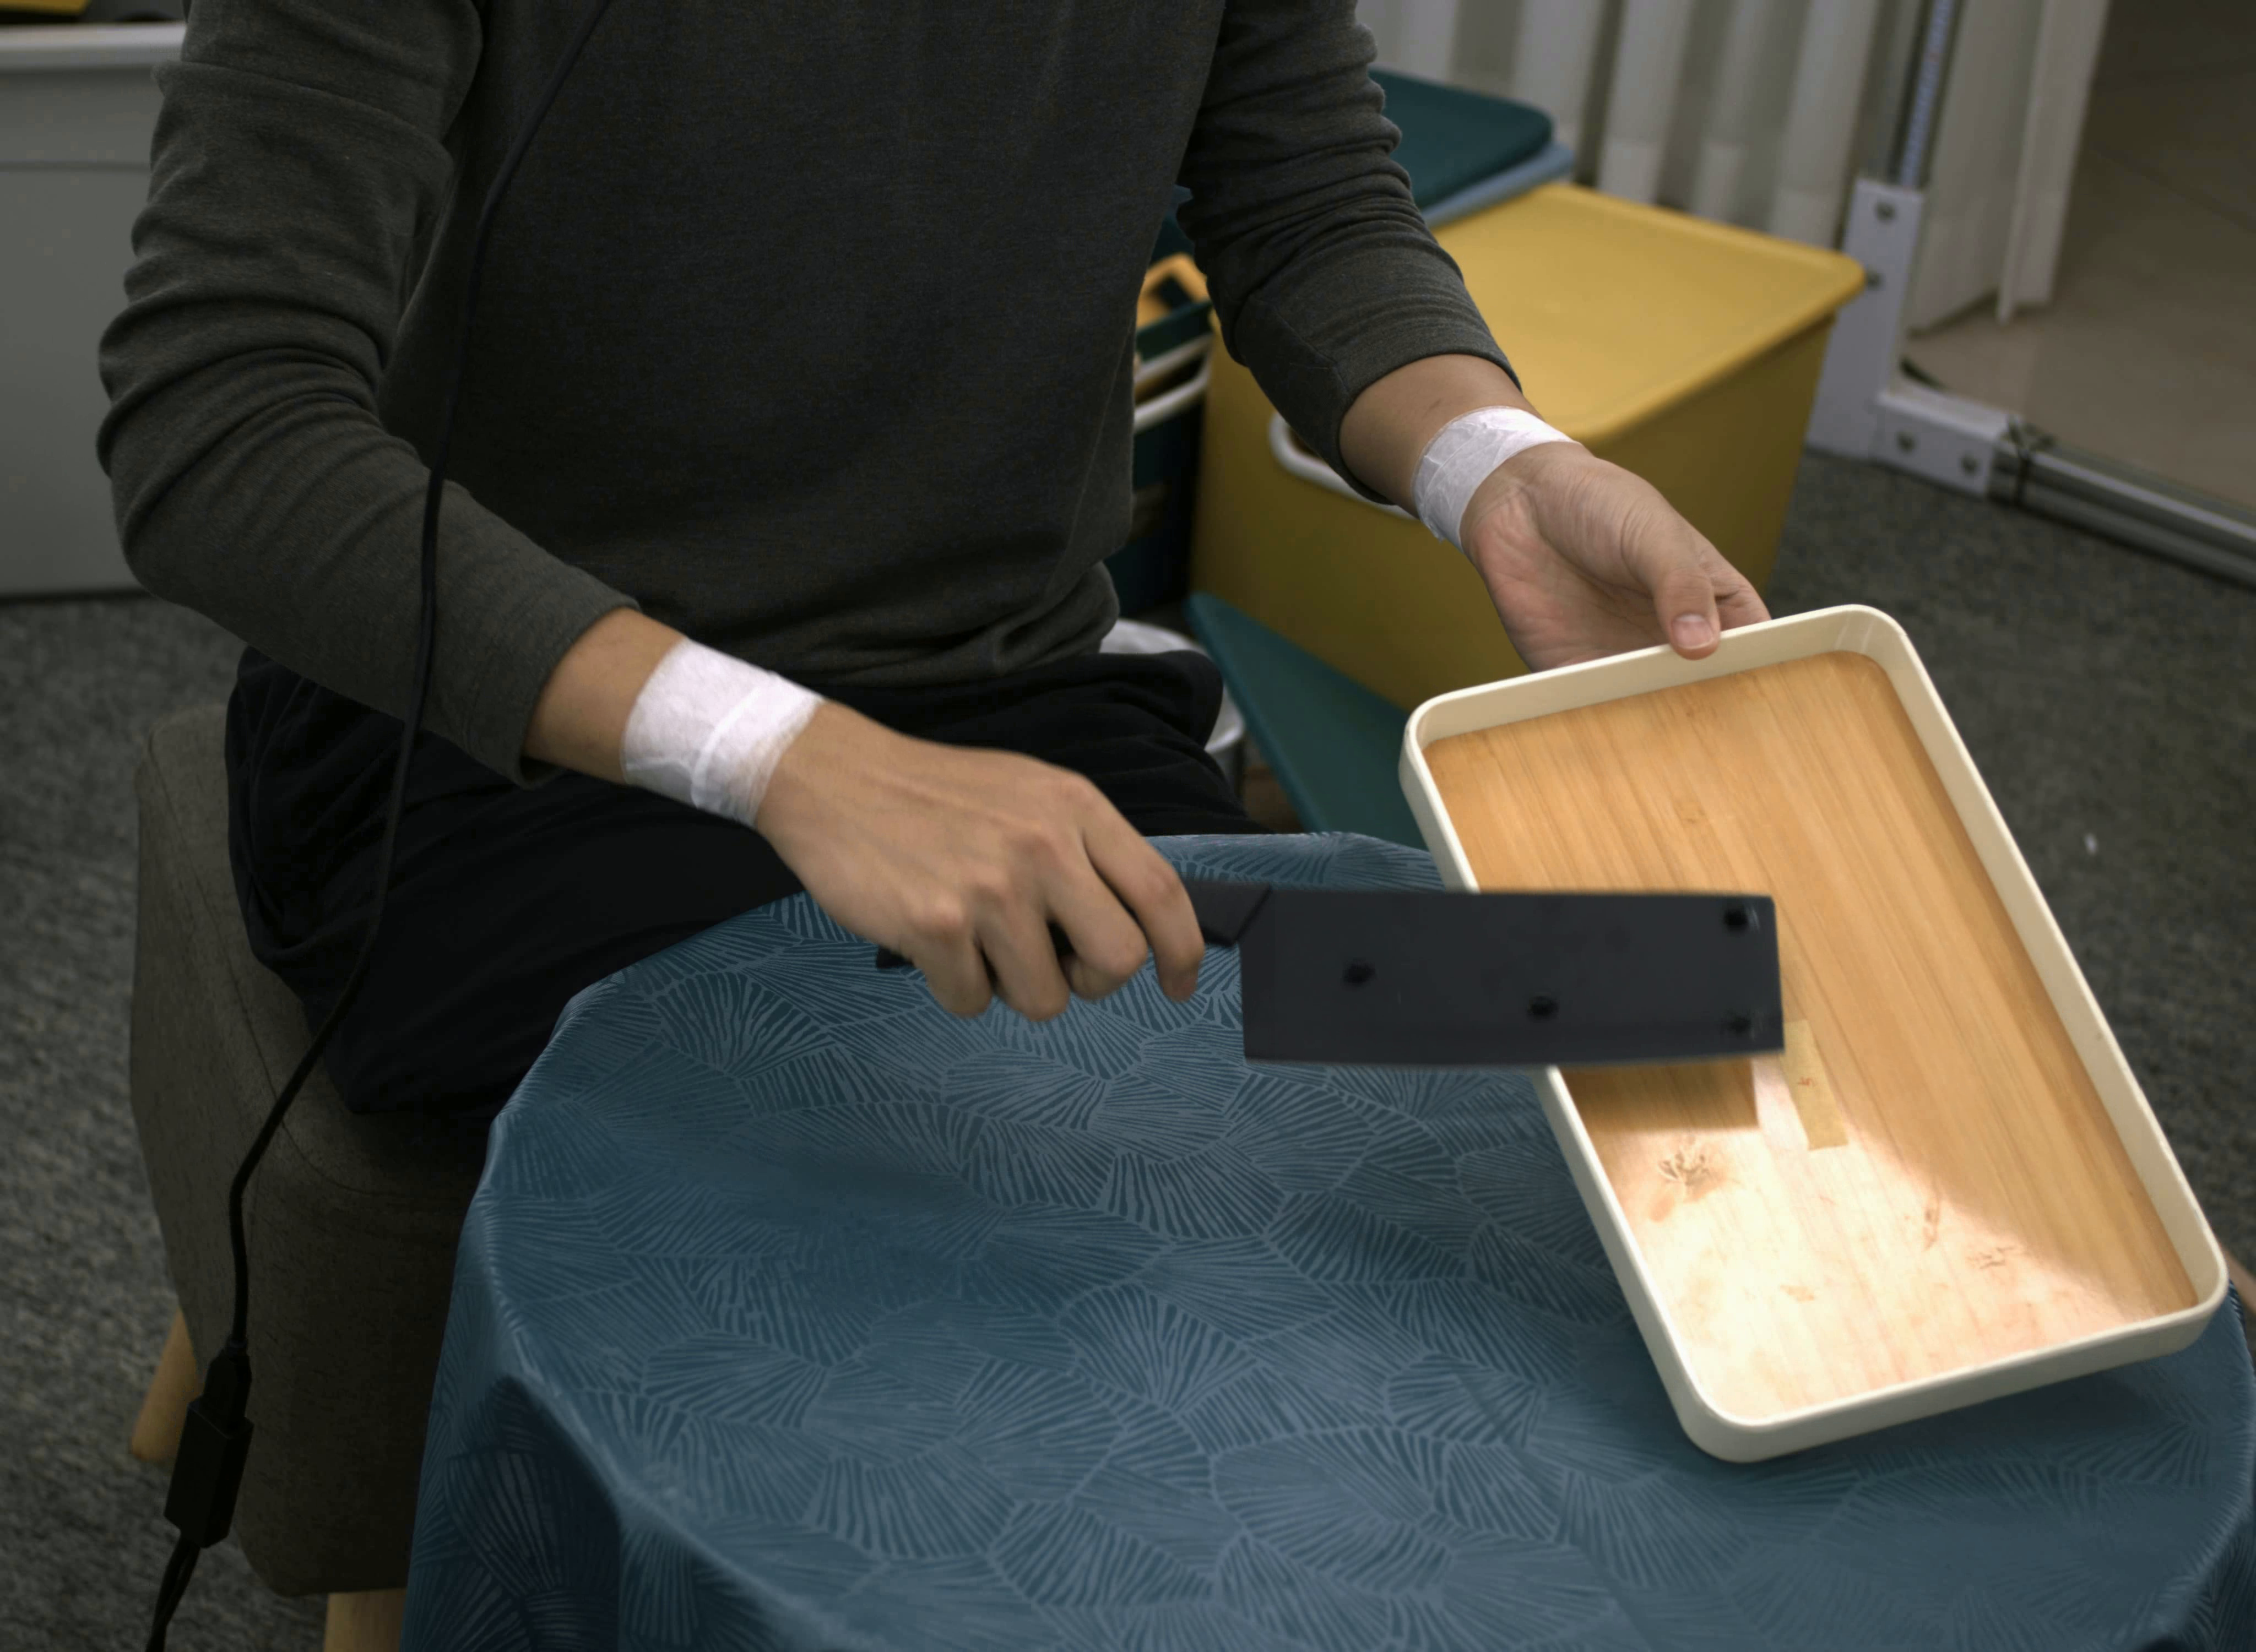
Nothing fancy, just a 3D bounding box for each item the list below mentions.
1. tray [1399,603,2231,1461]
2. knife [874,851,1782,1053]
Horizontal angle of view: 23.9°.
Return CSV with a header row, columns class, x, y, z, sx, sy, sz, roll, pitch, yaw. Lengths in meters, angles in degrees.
class,x,y,z,sx,sy,sz,roll,pitch,yaw
tray,0.225,0.063,1.783,0.190,0.027,0.303,-12,56,-15
knife,0.067,0.040,1.766,0.301,0.021,0.081,4,60,1
